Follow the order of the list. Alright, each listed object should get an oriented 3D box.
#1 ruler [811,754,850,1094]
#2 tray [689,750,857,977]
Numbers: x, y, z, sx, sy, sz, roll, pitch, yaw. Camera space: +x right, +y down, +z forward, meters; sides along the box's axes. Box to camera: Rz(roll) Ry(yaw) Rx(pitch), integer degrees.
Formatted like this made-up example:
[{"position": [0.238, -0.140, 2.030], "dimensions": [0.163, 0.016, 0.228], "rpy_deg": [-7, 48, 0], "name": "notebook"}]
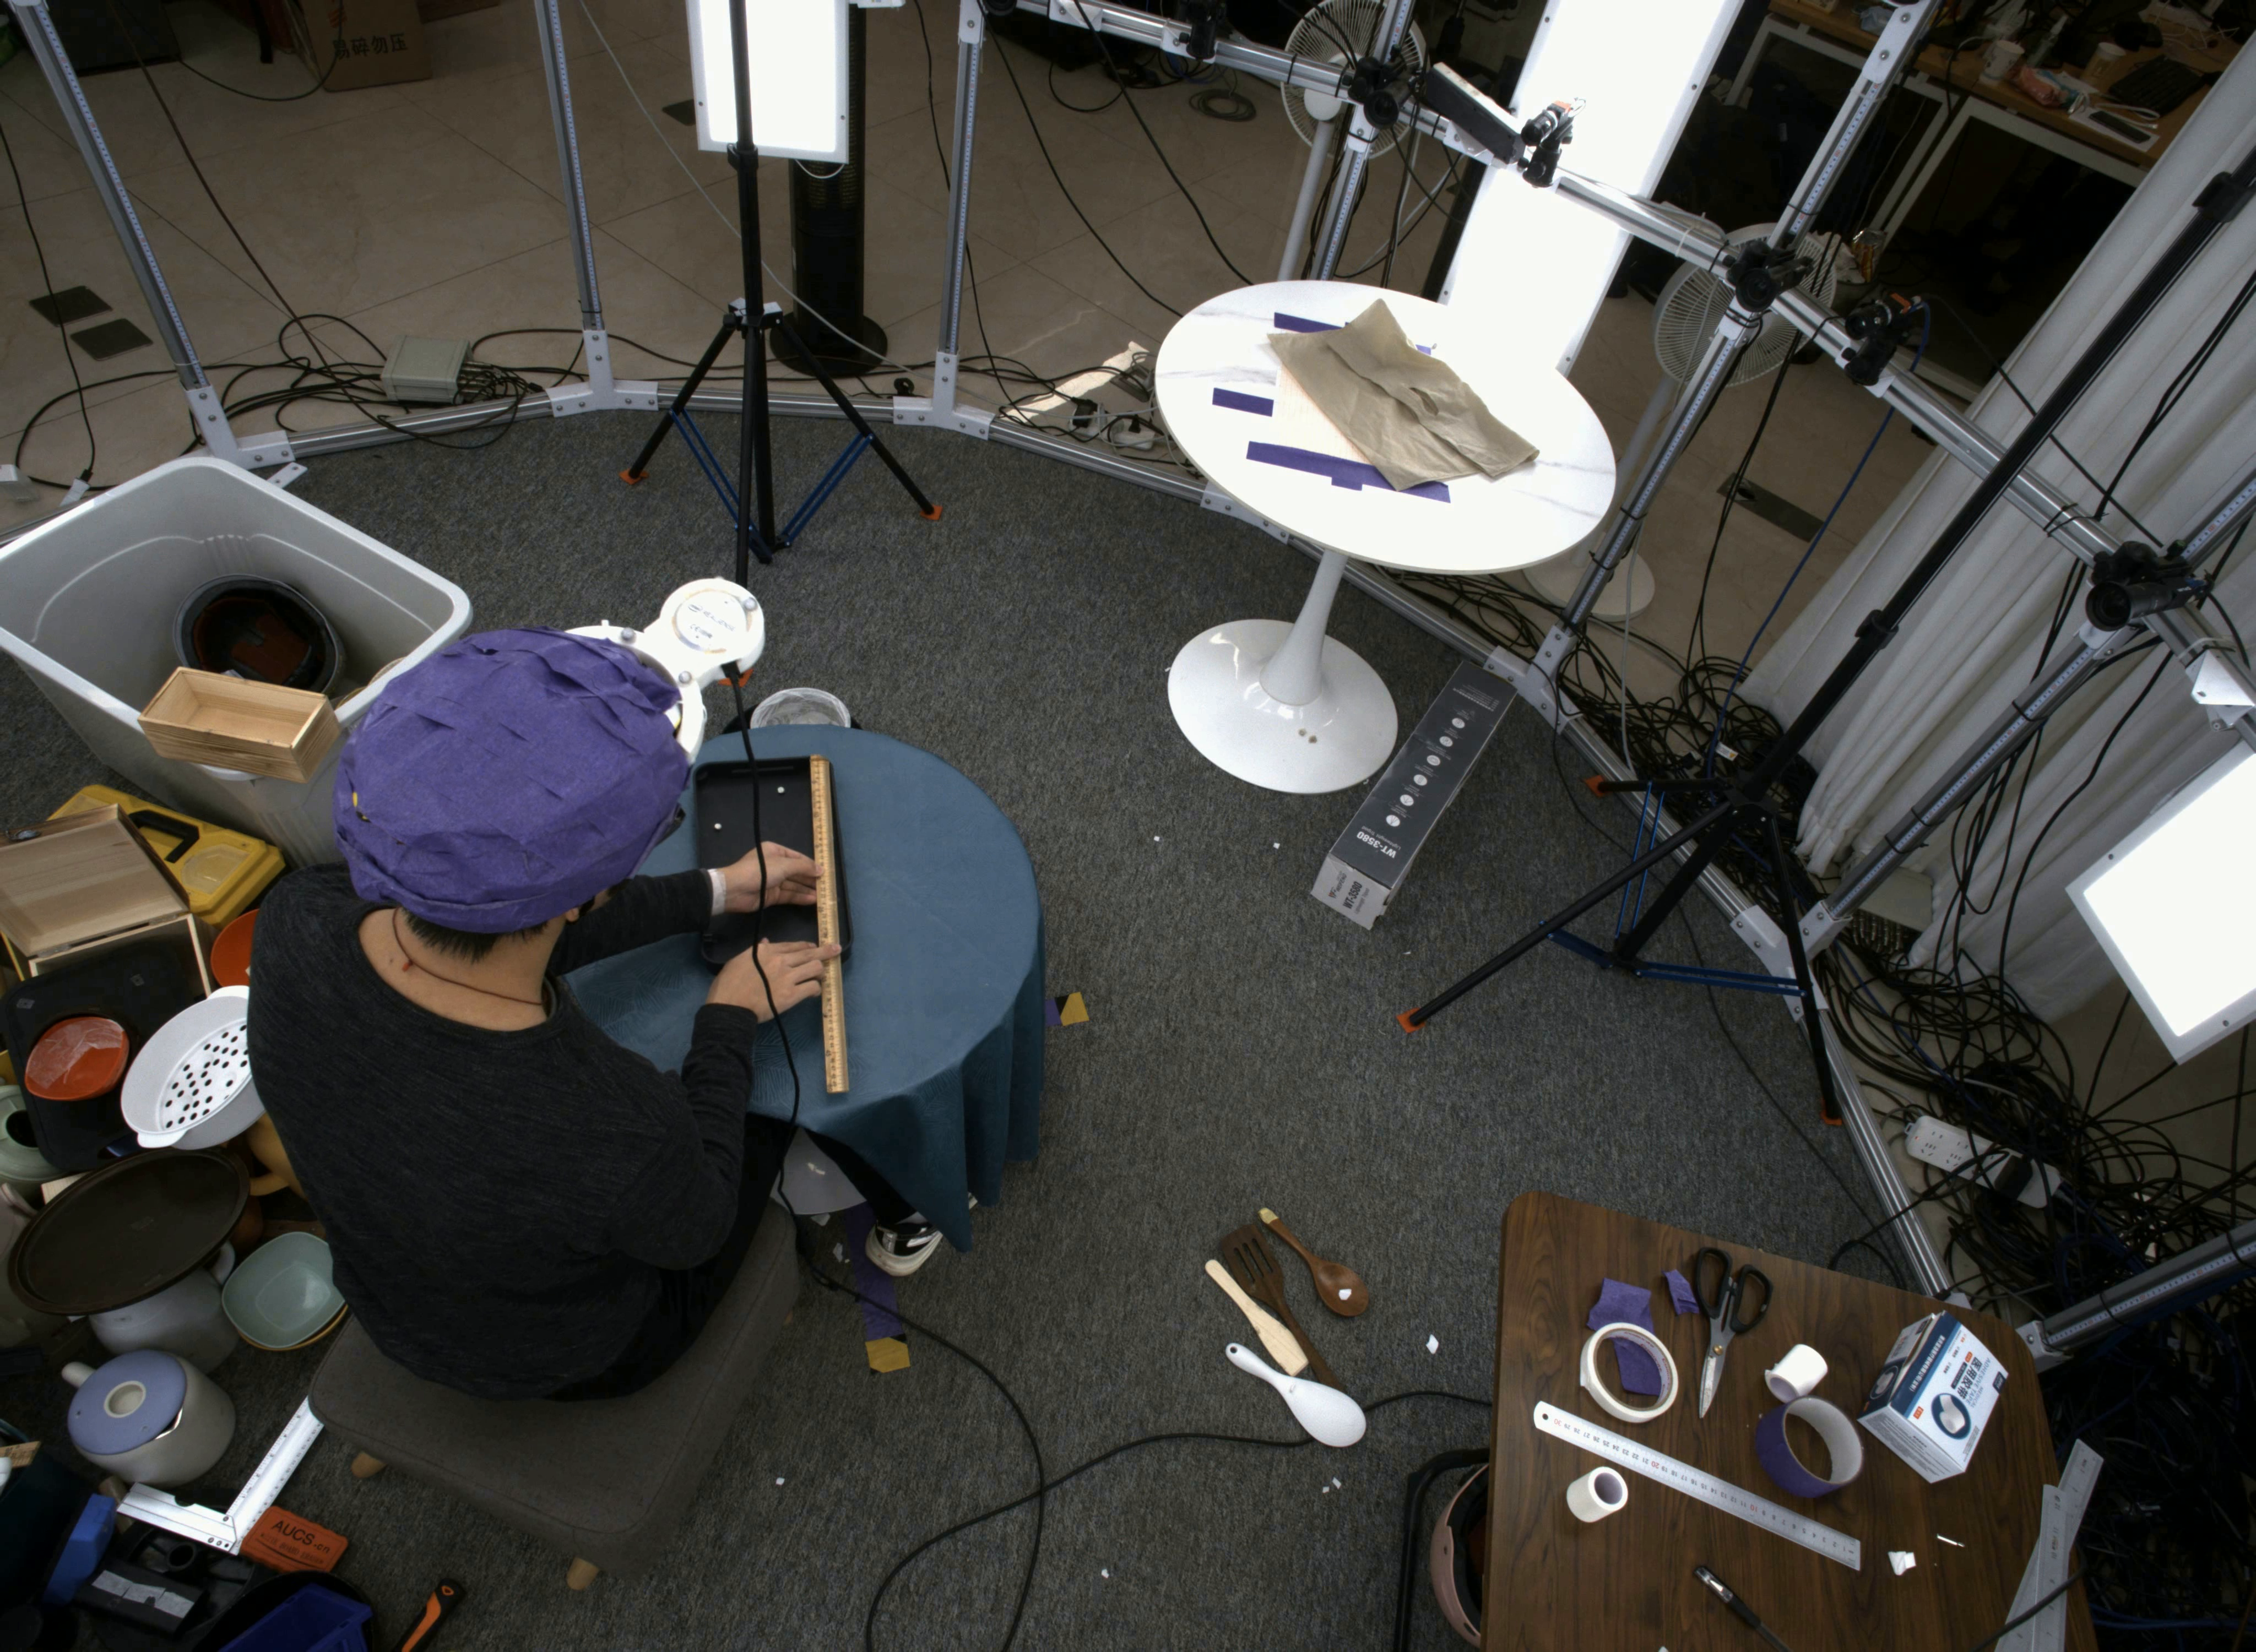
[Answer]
[{"position": [-0.372, 0.102, 1.609], "dimensions": [0.027, 0.006, 0.489], "rpy_deg": [-3, 55, -14], "name": "ruler"}, {"position": [-0.458, 0.039, 1.658], "dimensions": [0.185, 0.038, 0.310], "rpy_deg": [-6, 56, -18], "name": "tray"}]
